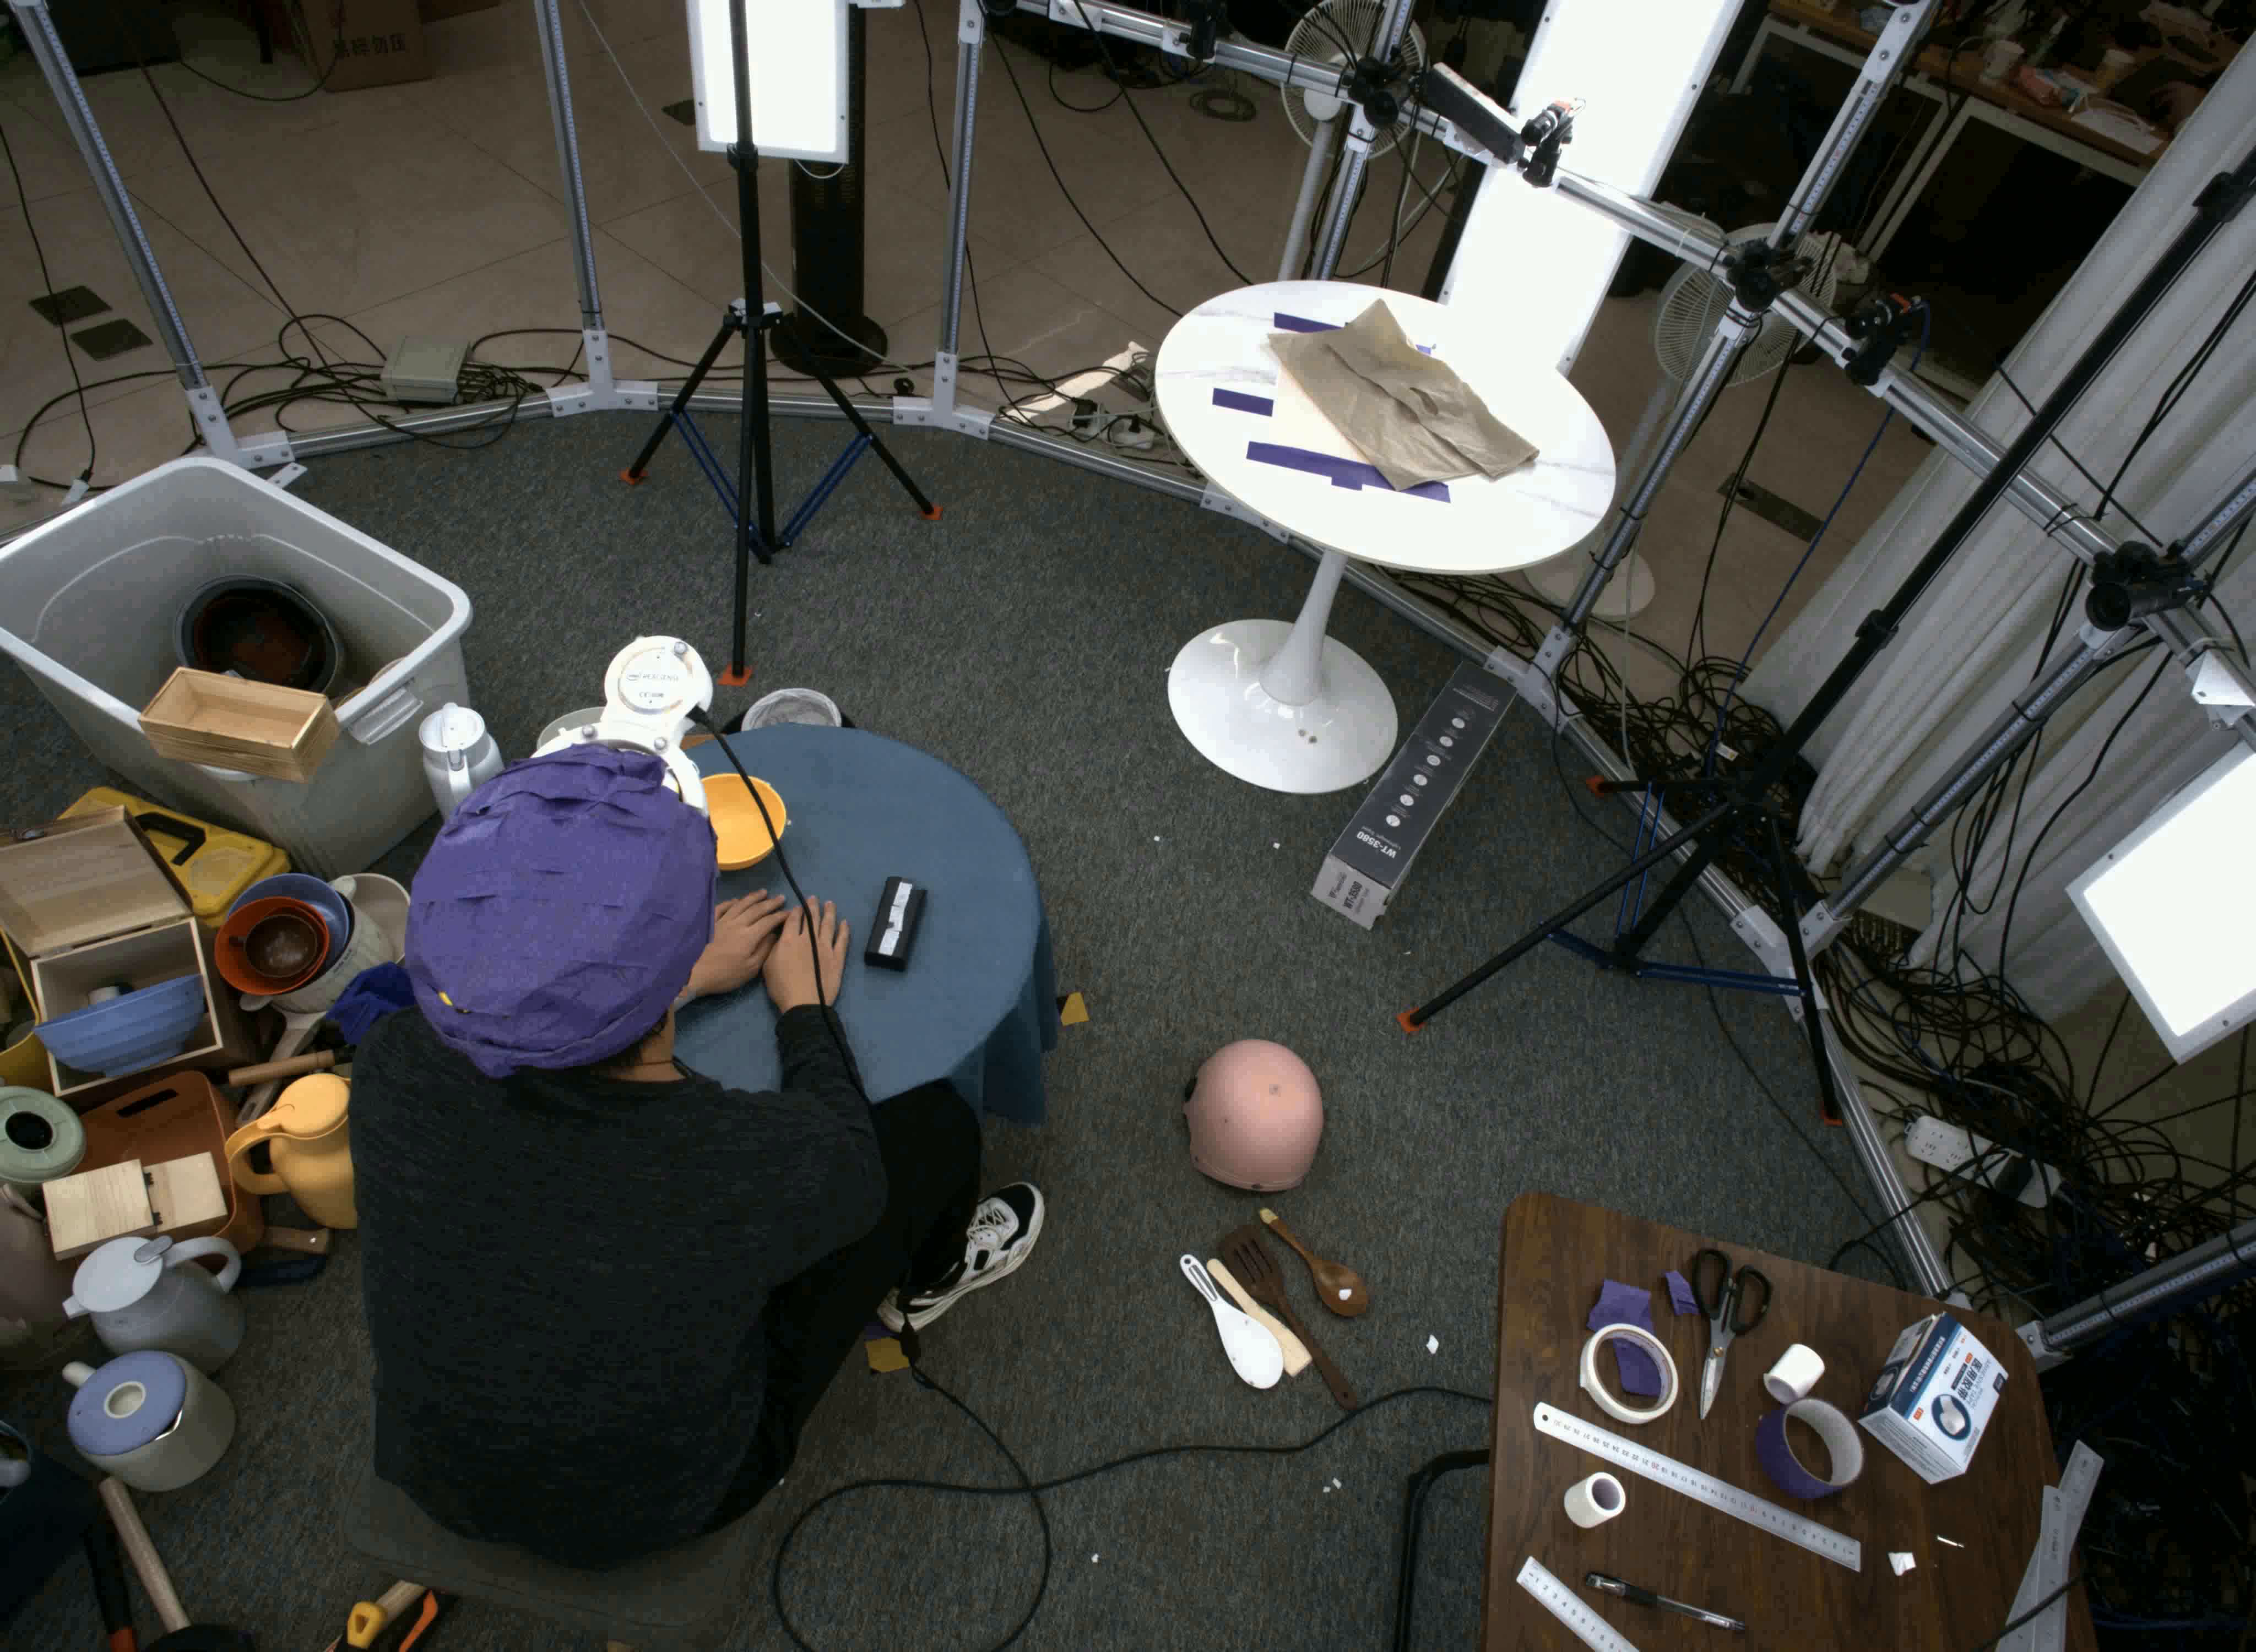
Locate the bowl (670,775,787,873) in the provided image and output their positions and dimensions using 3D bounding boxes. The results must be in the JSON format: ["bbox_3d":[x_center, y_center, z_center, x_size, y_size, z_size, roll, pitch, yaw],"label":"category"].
[{"bbox_3d":[-0.509,0.007,1.655,0.145,0.061,0.143,6,54,-7],"label":"bowl"}]

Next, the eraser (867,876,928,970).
[{"bbox_3d":[-0.291,0.119,1.646,0.053,0.031,0.123,10,52,-3],"label":"eraser"}]
